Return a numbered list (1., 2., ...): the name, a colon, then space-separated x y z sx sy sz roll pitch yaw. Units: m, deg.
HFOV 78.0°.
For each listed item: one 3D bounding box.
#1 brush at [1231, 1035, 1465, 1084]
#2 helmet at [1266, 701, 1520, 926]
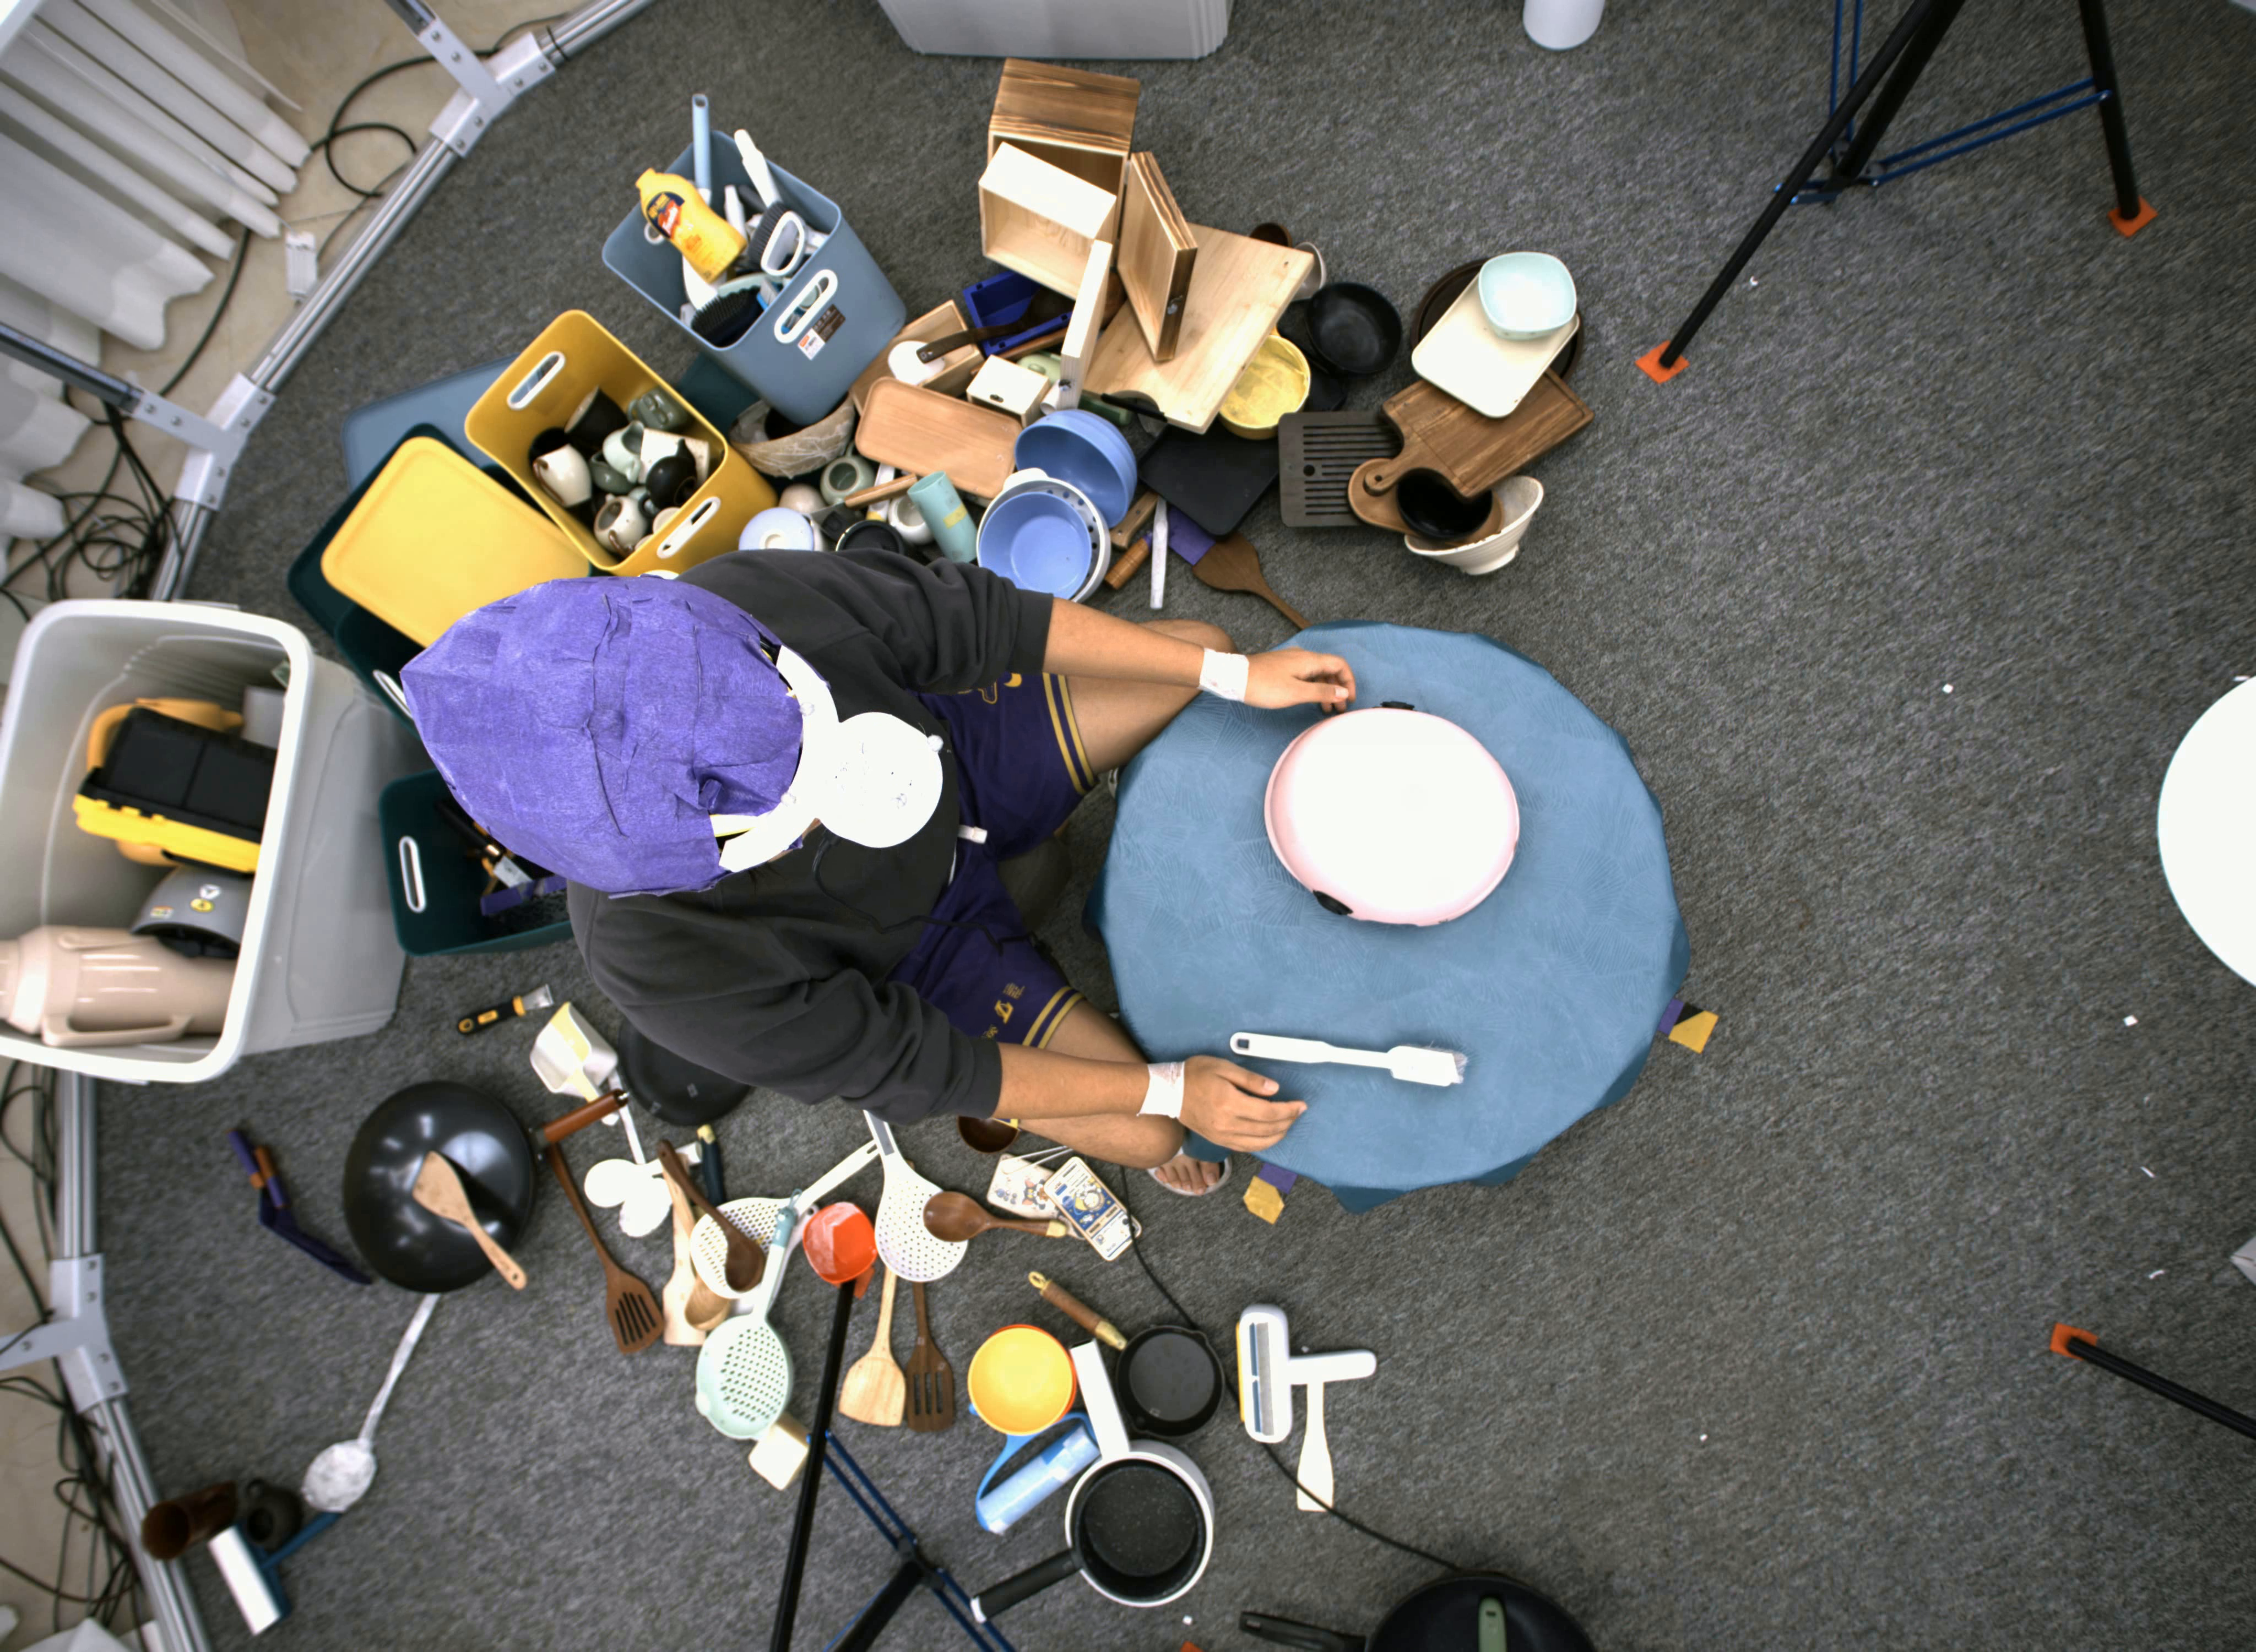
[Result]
1. brush: 0.228 0.239 1.447 0.245 0.050 0.034 2 88 24
2. helmet: 0.261 -0.019 1.390 0.266 0.159 0.234 17 90 15
